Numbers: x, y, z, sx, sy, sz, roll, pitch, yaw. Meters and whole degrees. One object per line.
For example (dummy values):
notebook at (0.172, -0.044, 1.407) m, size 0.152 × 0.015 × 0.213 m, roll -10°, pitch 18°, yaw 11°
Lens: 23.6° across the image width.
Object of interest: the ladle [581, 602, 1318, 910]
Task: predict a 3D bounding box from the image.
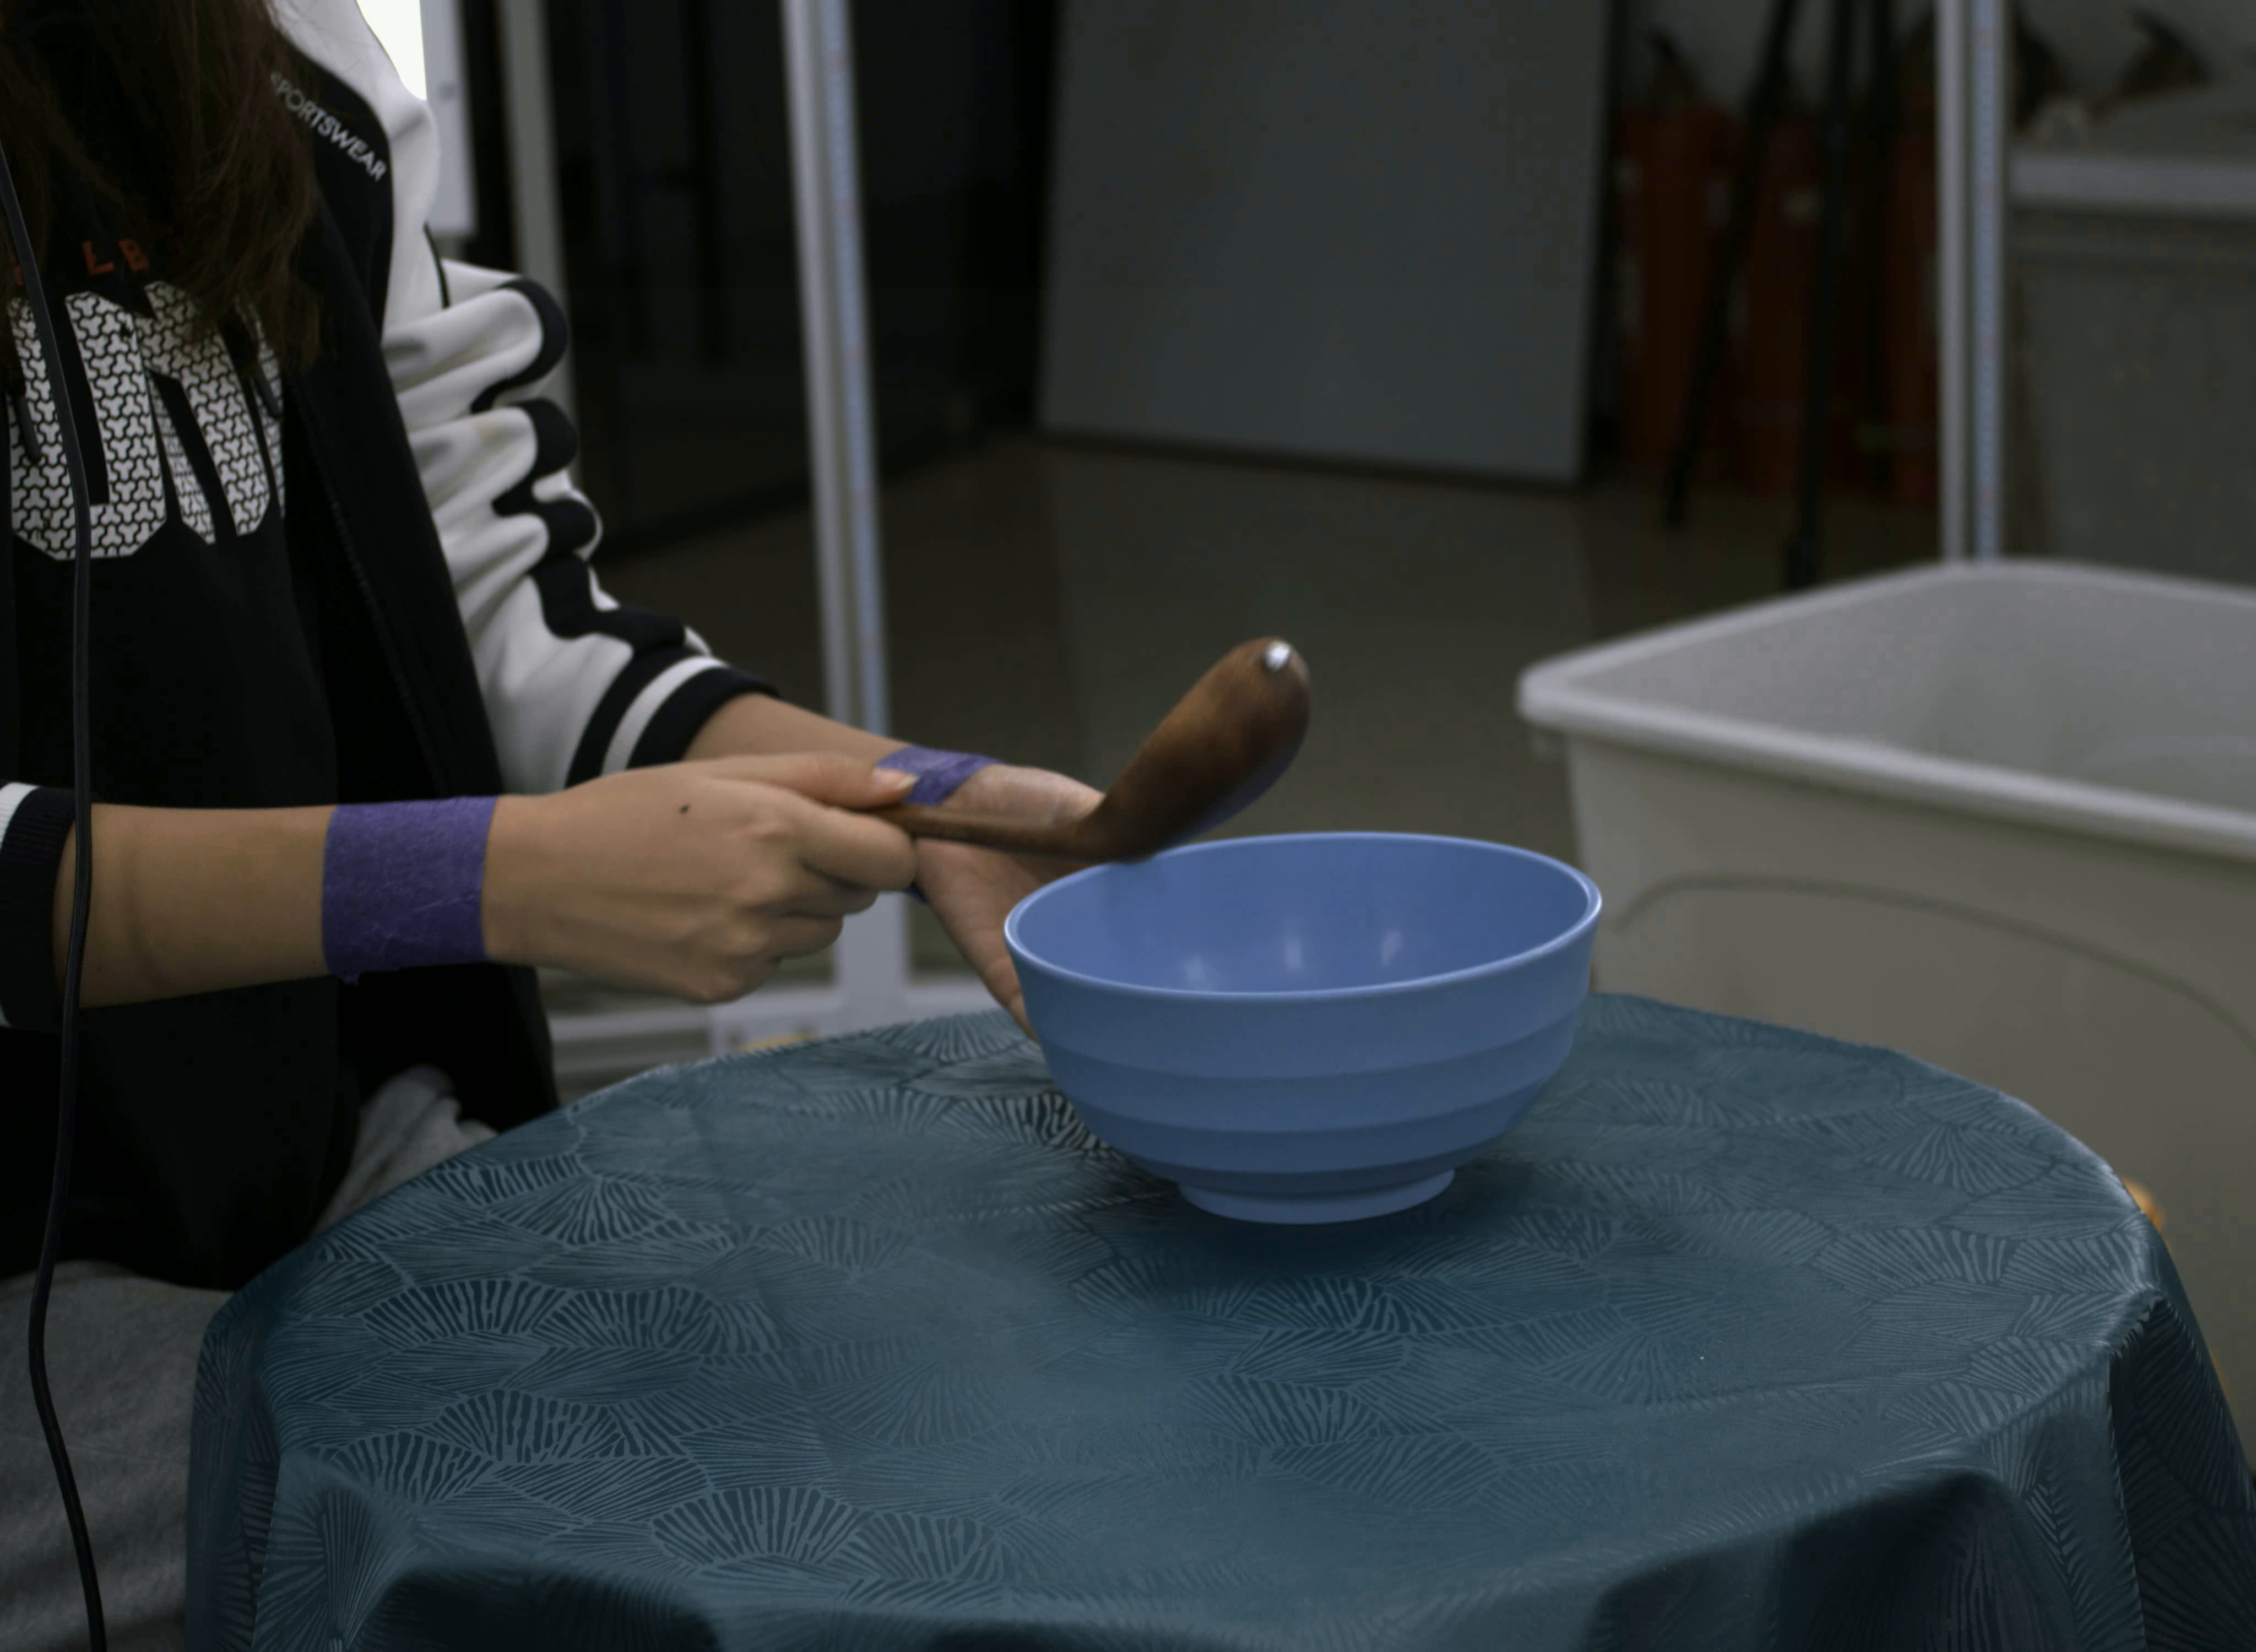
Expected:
ladle at (-0.060, -0.020, 1.660) m, size 0.261 × 0.066 × 0.075 m, roll -8°, pitch -4°, yaw 28°

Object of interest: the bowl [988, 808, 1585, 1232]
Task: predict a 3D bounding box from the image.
bowl at (0.054, 0.070, 1.762) m, size 0.194 × 0.096 × 0.197 m, roll -4°, pitch 20°, yaw 1°
